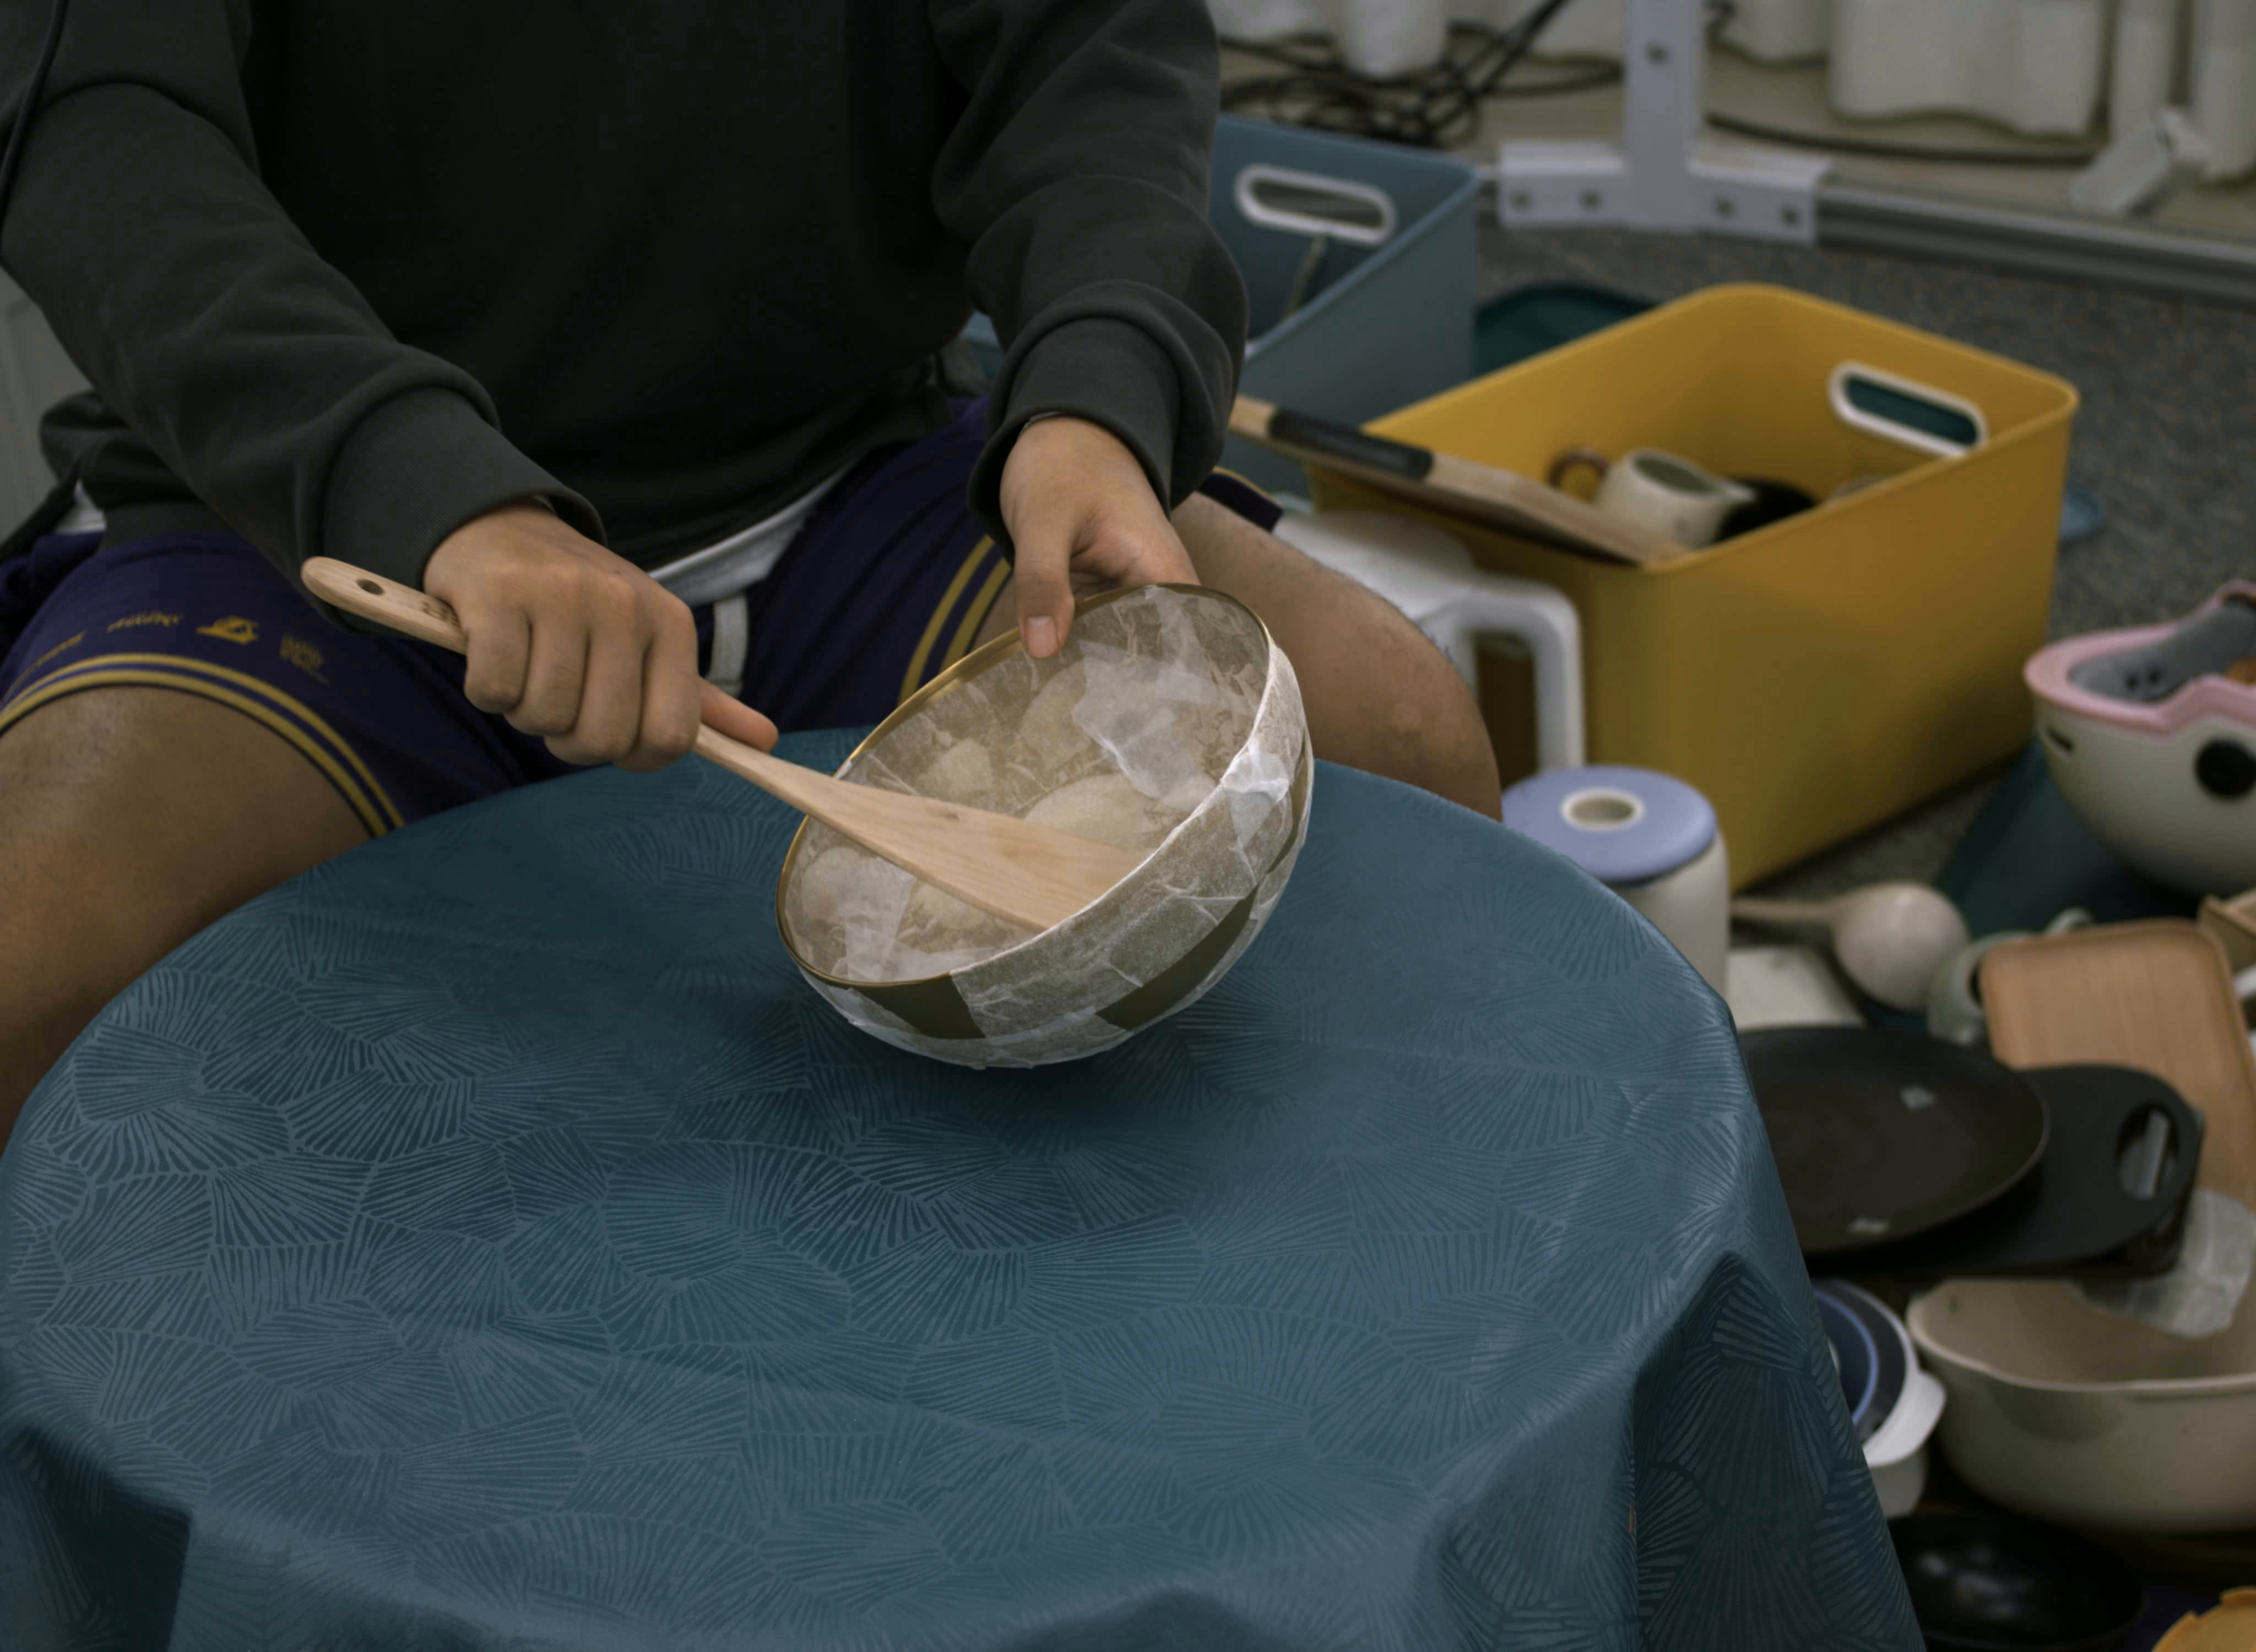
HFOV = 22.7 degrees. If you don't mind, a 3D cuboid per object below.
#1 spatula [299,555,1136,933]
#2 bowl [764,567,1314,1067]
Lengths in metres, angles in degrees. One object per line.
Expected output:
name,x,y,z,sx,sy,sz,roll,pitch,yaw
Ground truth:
spatula,-0.130,-0.027,1.917,0.326,0.016,0.081,24,24,-15
bowl,-0.016,0.012,1.948,0.212,0.094,0.218,-25,31,17
